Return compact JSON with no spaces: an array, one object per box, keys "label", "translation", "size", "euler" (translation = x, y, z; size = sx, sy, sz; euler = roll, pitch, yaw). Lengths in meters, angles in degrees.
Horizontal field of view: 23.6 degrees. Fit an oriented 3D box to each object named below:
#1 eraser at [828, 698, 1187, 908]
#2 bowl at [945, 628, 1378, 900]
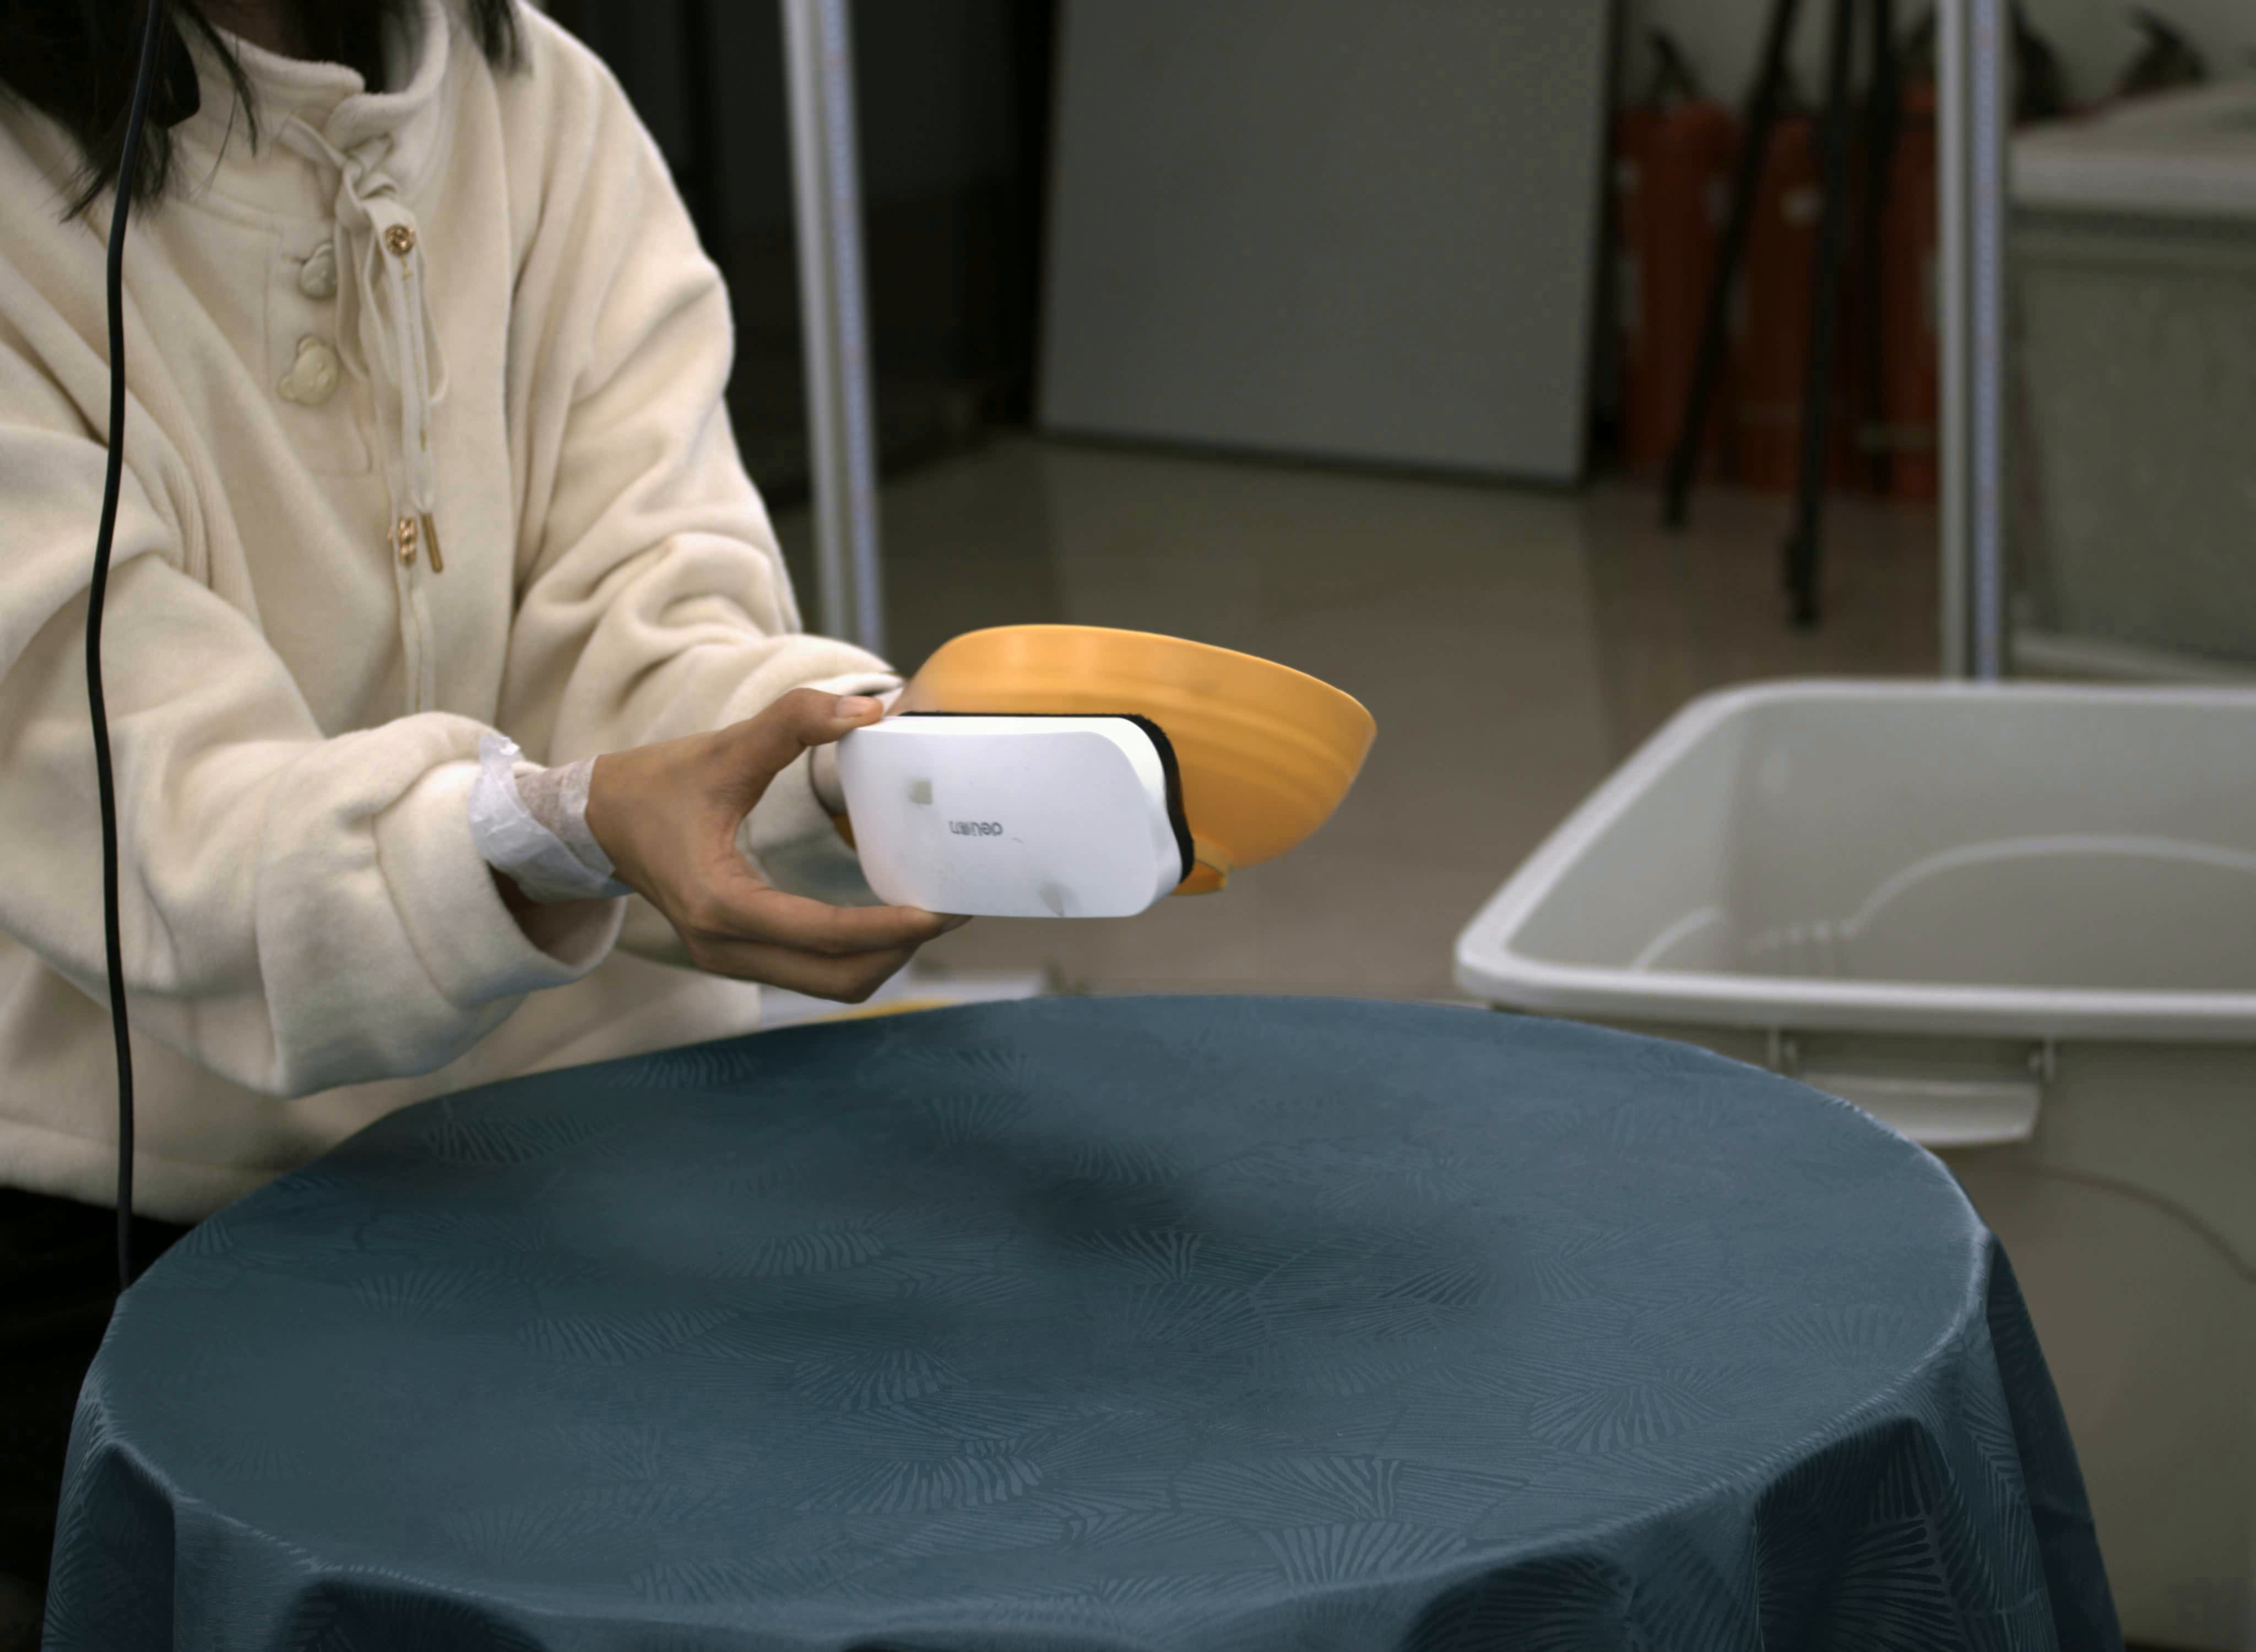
[{"label":"eraser","translation":[-0.040,-0.009,1.663],"size":[0.132,0.064,0.034],"euler":[-1,16,44]},{"label":"bowl","translation":[0.006,-0.014,1.727],"size":[0.143,0.061,0.145],"euler":[11,-13,2]}]
